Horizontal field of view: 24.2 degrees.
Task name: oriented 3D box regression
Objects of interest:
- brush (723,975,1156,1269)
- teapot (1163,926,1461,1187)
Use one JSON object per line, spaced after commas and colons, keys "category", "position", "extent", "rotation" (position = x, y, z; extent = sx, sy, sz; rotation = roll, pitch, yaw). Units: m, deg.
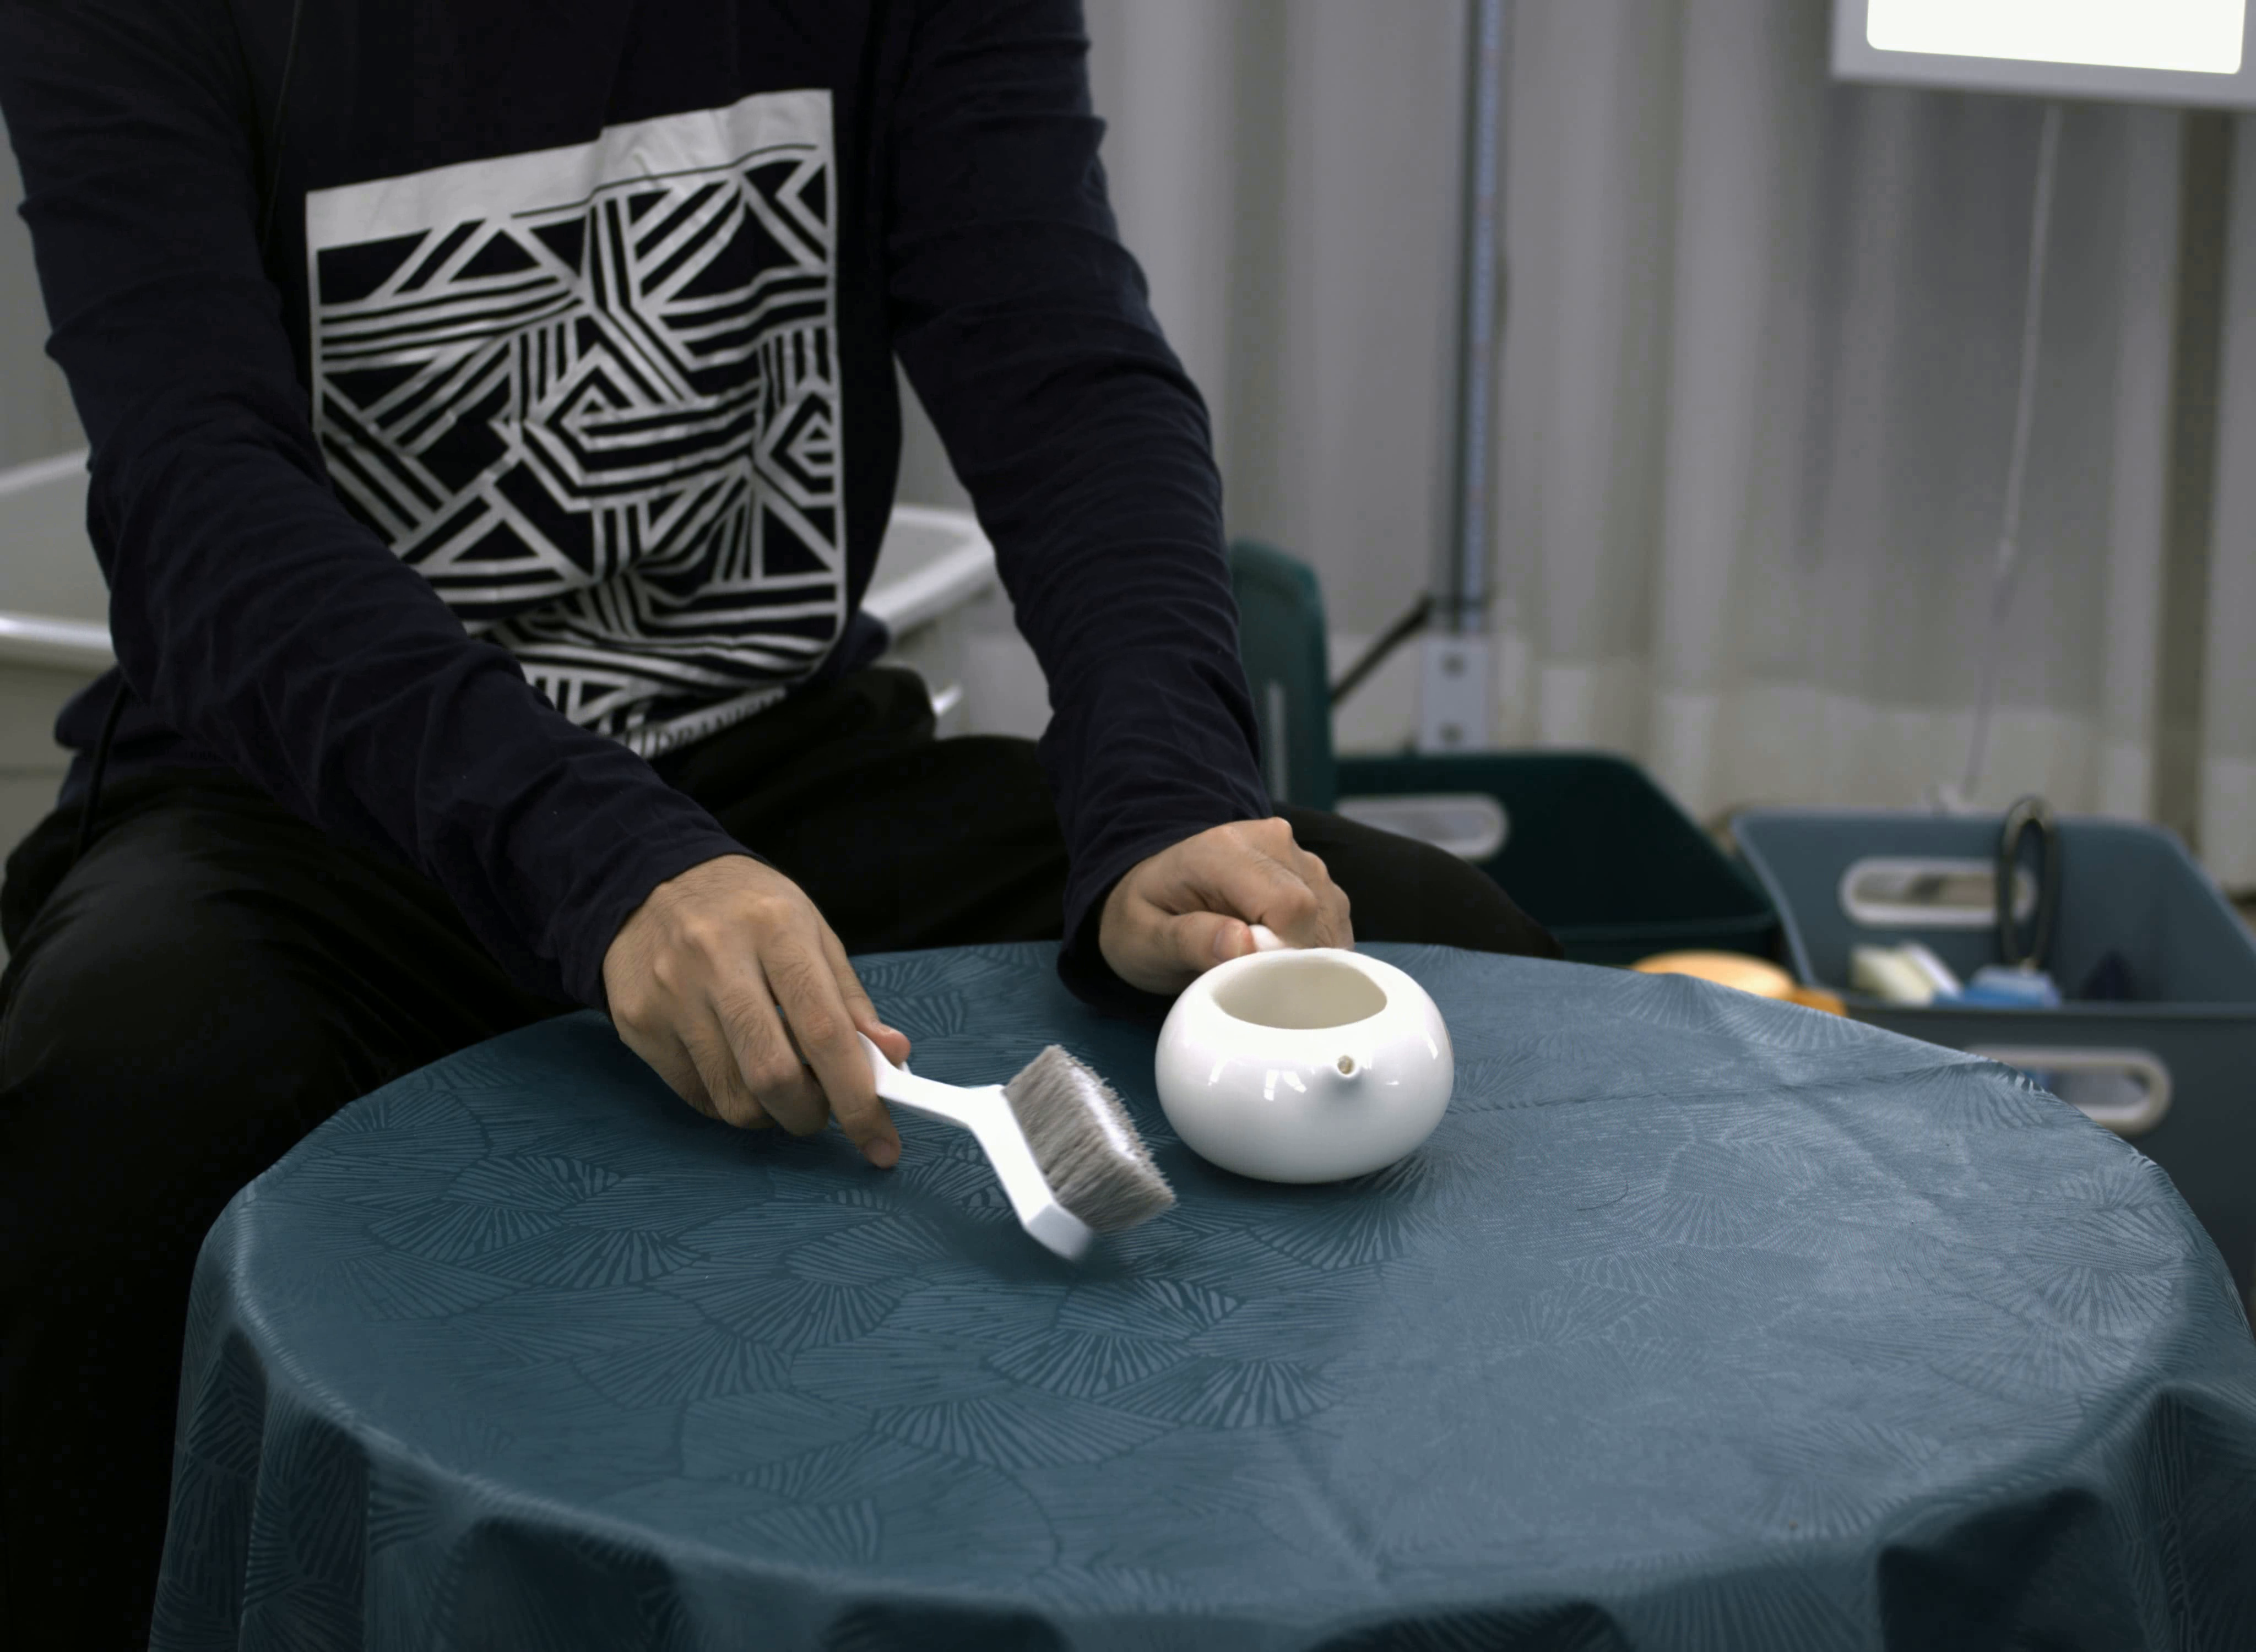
{"category": "brush", "position": [-0.062, 0.073, 1.633], "extent": [0.035, 0.050, 0.240], "rotation": [25, 4, -34]}
{"category": "teapot", "position": [0.054, 0.072, 1.656], "extent": [0.093, 0.057, 0.126], "rotation": [-12, 25, -14]}
